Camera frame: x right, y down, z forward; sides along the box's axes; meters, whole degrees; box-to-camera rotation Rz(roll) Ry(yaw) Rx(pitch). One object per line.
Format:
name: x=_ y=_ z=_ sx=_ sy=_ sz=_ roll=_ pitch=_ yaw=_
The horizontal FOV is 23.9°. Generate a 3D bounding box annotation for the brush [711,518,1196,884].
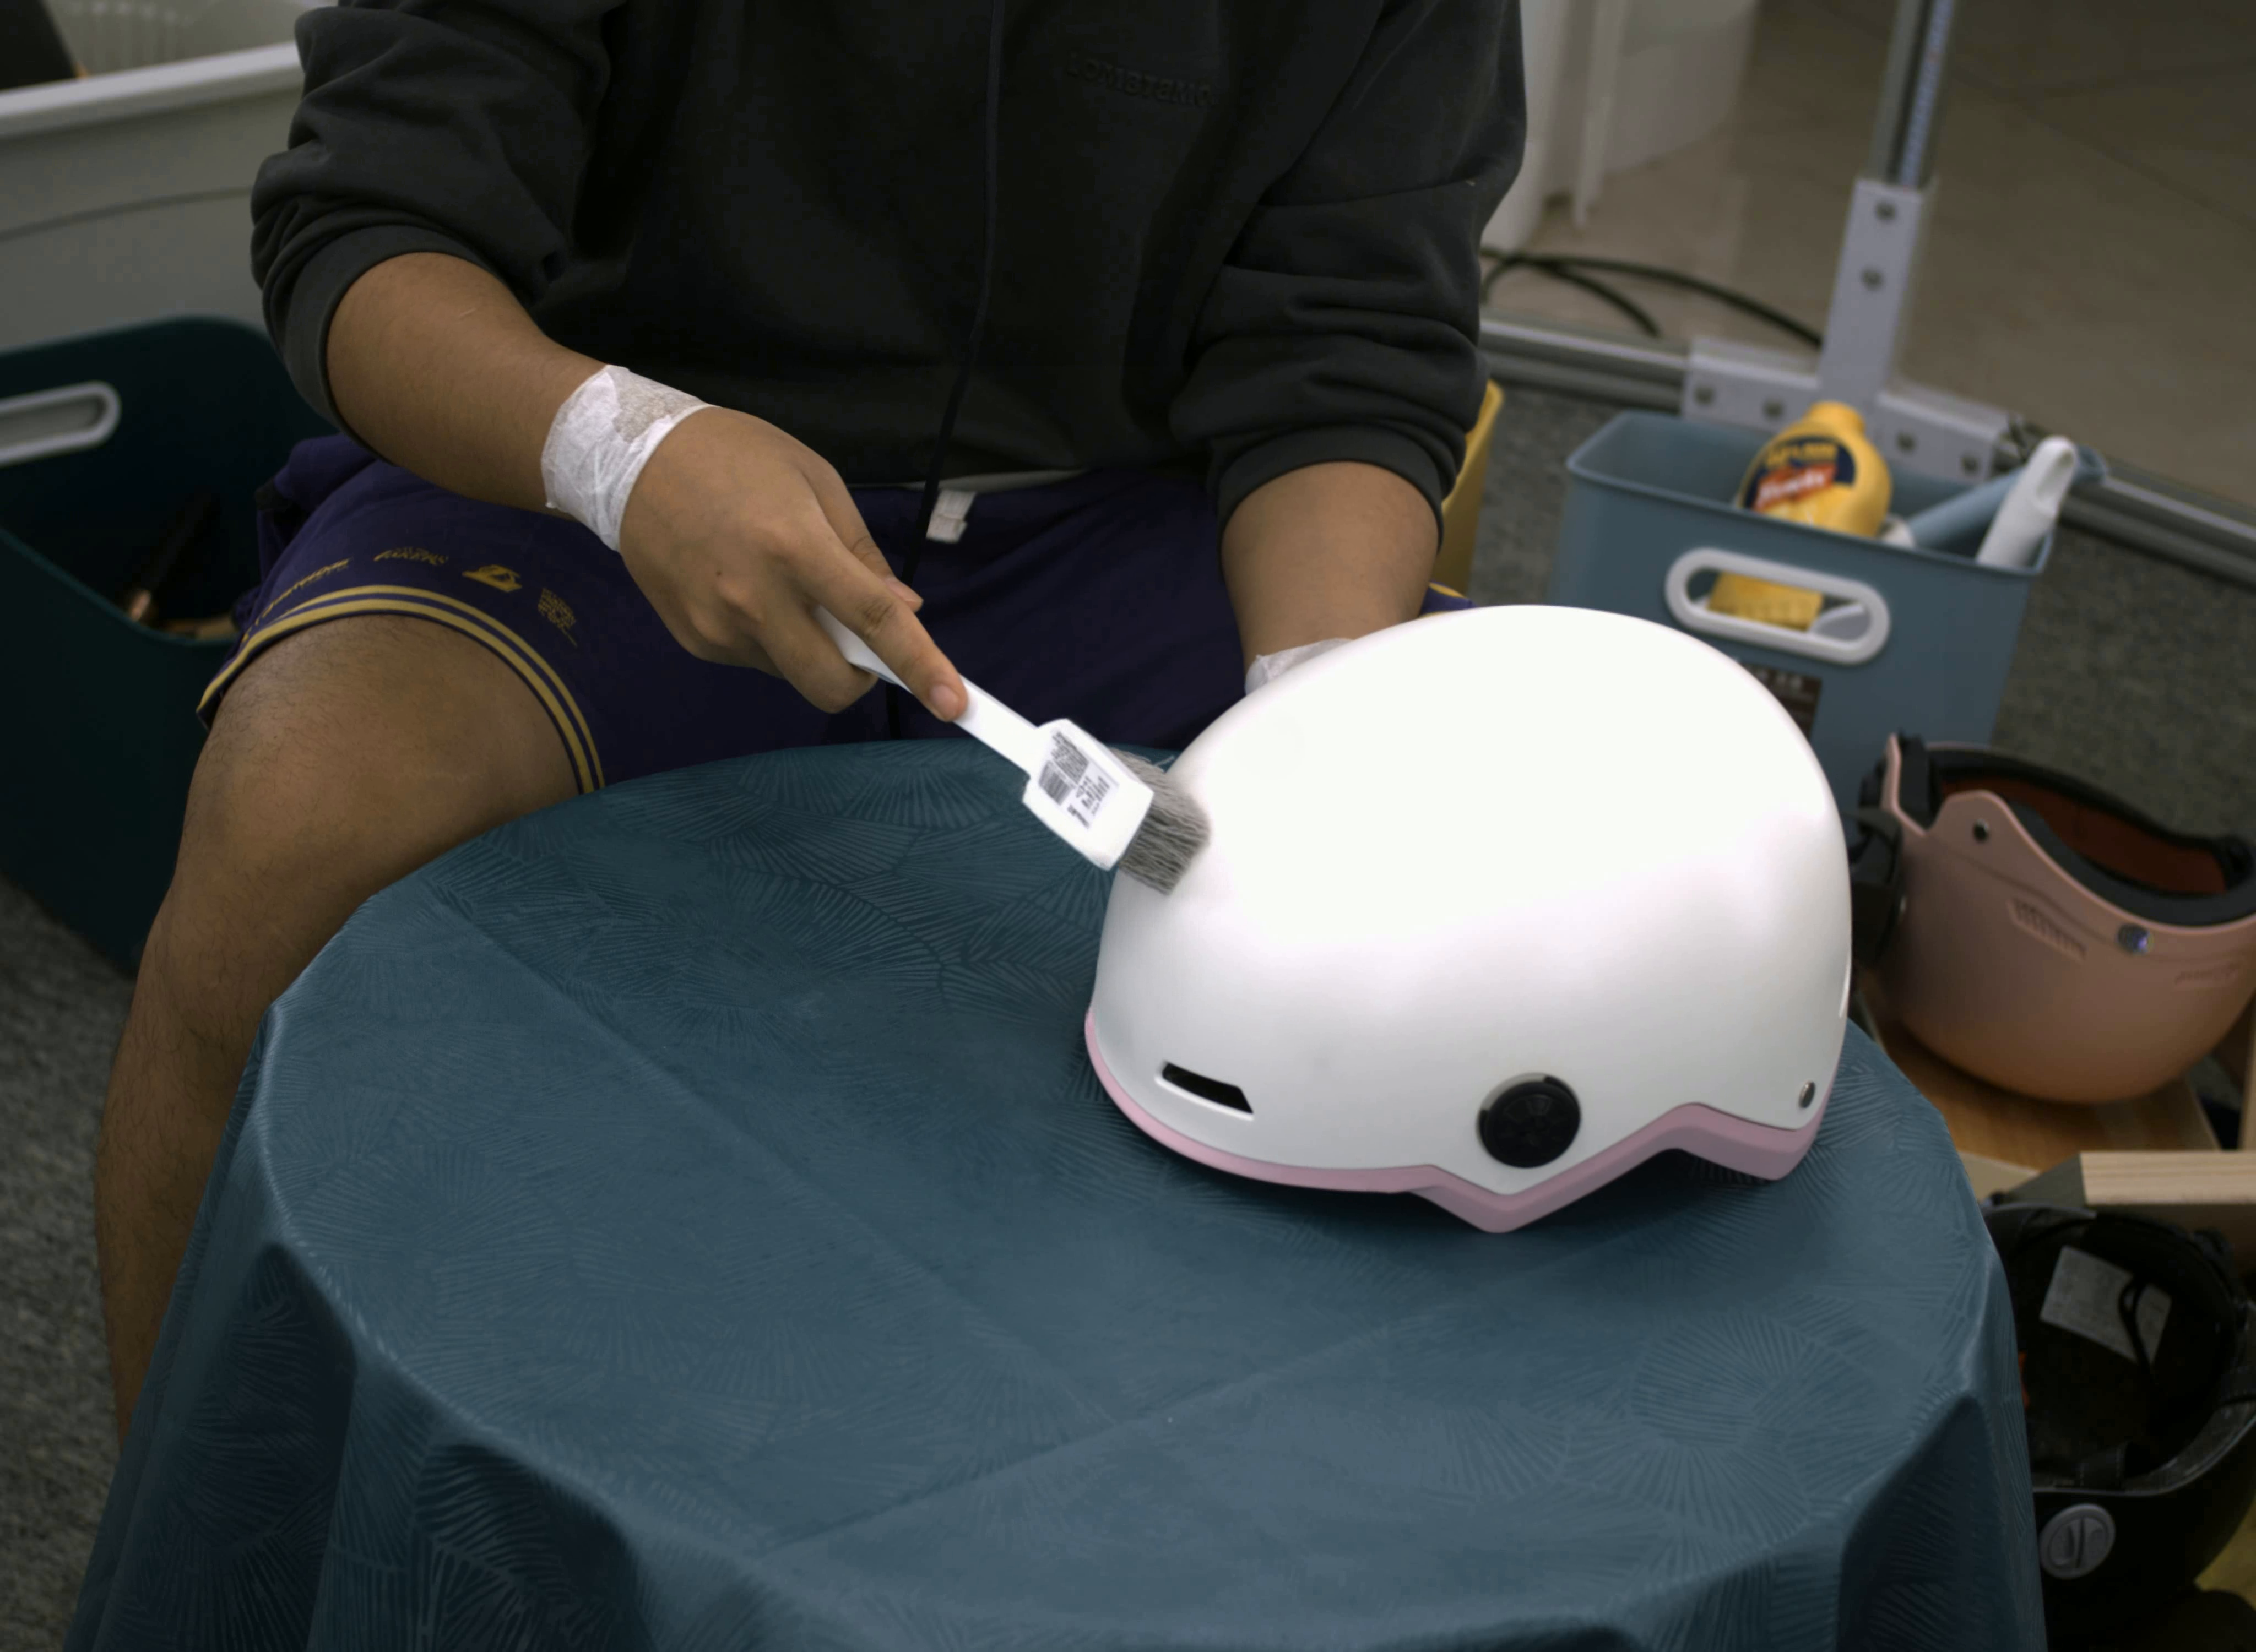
brush: x=-0.062 y=-0.047 z=1.878 sx=0.050 sy=0.034 sz=0.246 roll=20 pitch=11 yaw=-48

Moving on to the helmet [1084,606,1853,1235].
helmet: x=0.126 y=0.015 z=1.853 sx=0.267 sy=0.166 sz=0.239 roll=-2 pitch=31 yaw=-17
